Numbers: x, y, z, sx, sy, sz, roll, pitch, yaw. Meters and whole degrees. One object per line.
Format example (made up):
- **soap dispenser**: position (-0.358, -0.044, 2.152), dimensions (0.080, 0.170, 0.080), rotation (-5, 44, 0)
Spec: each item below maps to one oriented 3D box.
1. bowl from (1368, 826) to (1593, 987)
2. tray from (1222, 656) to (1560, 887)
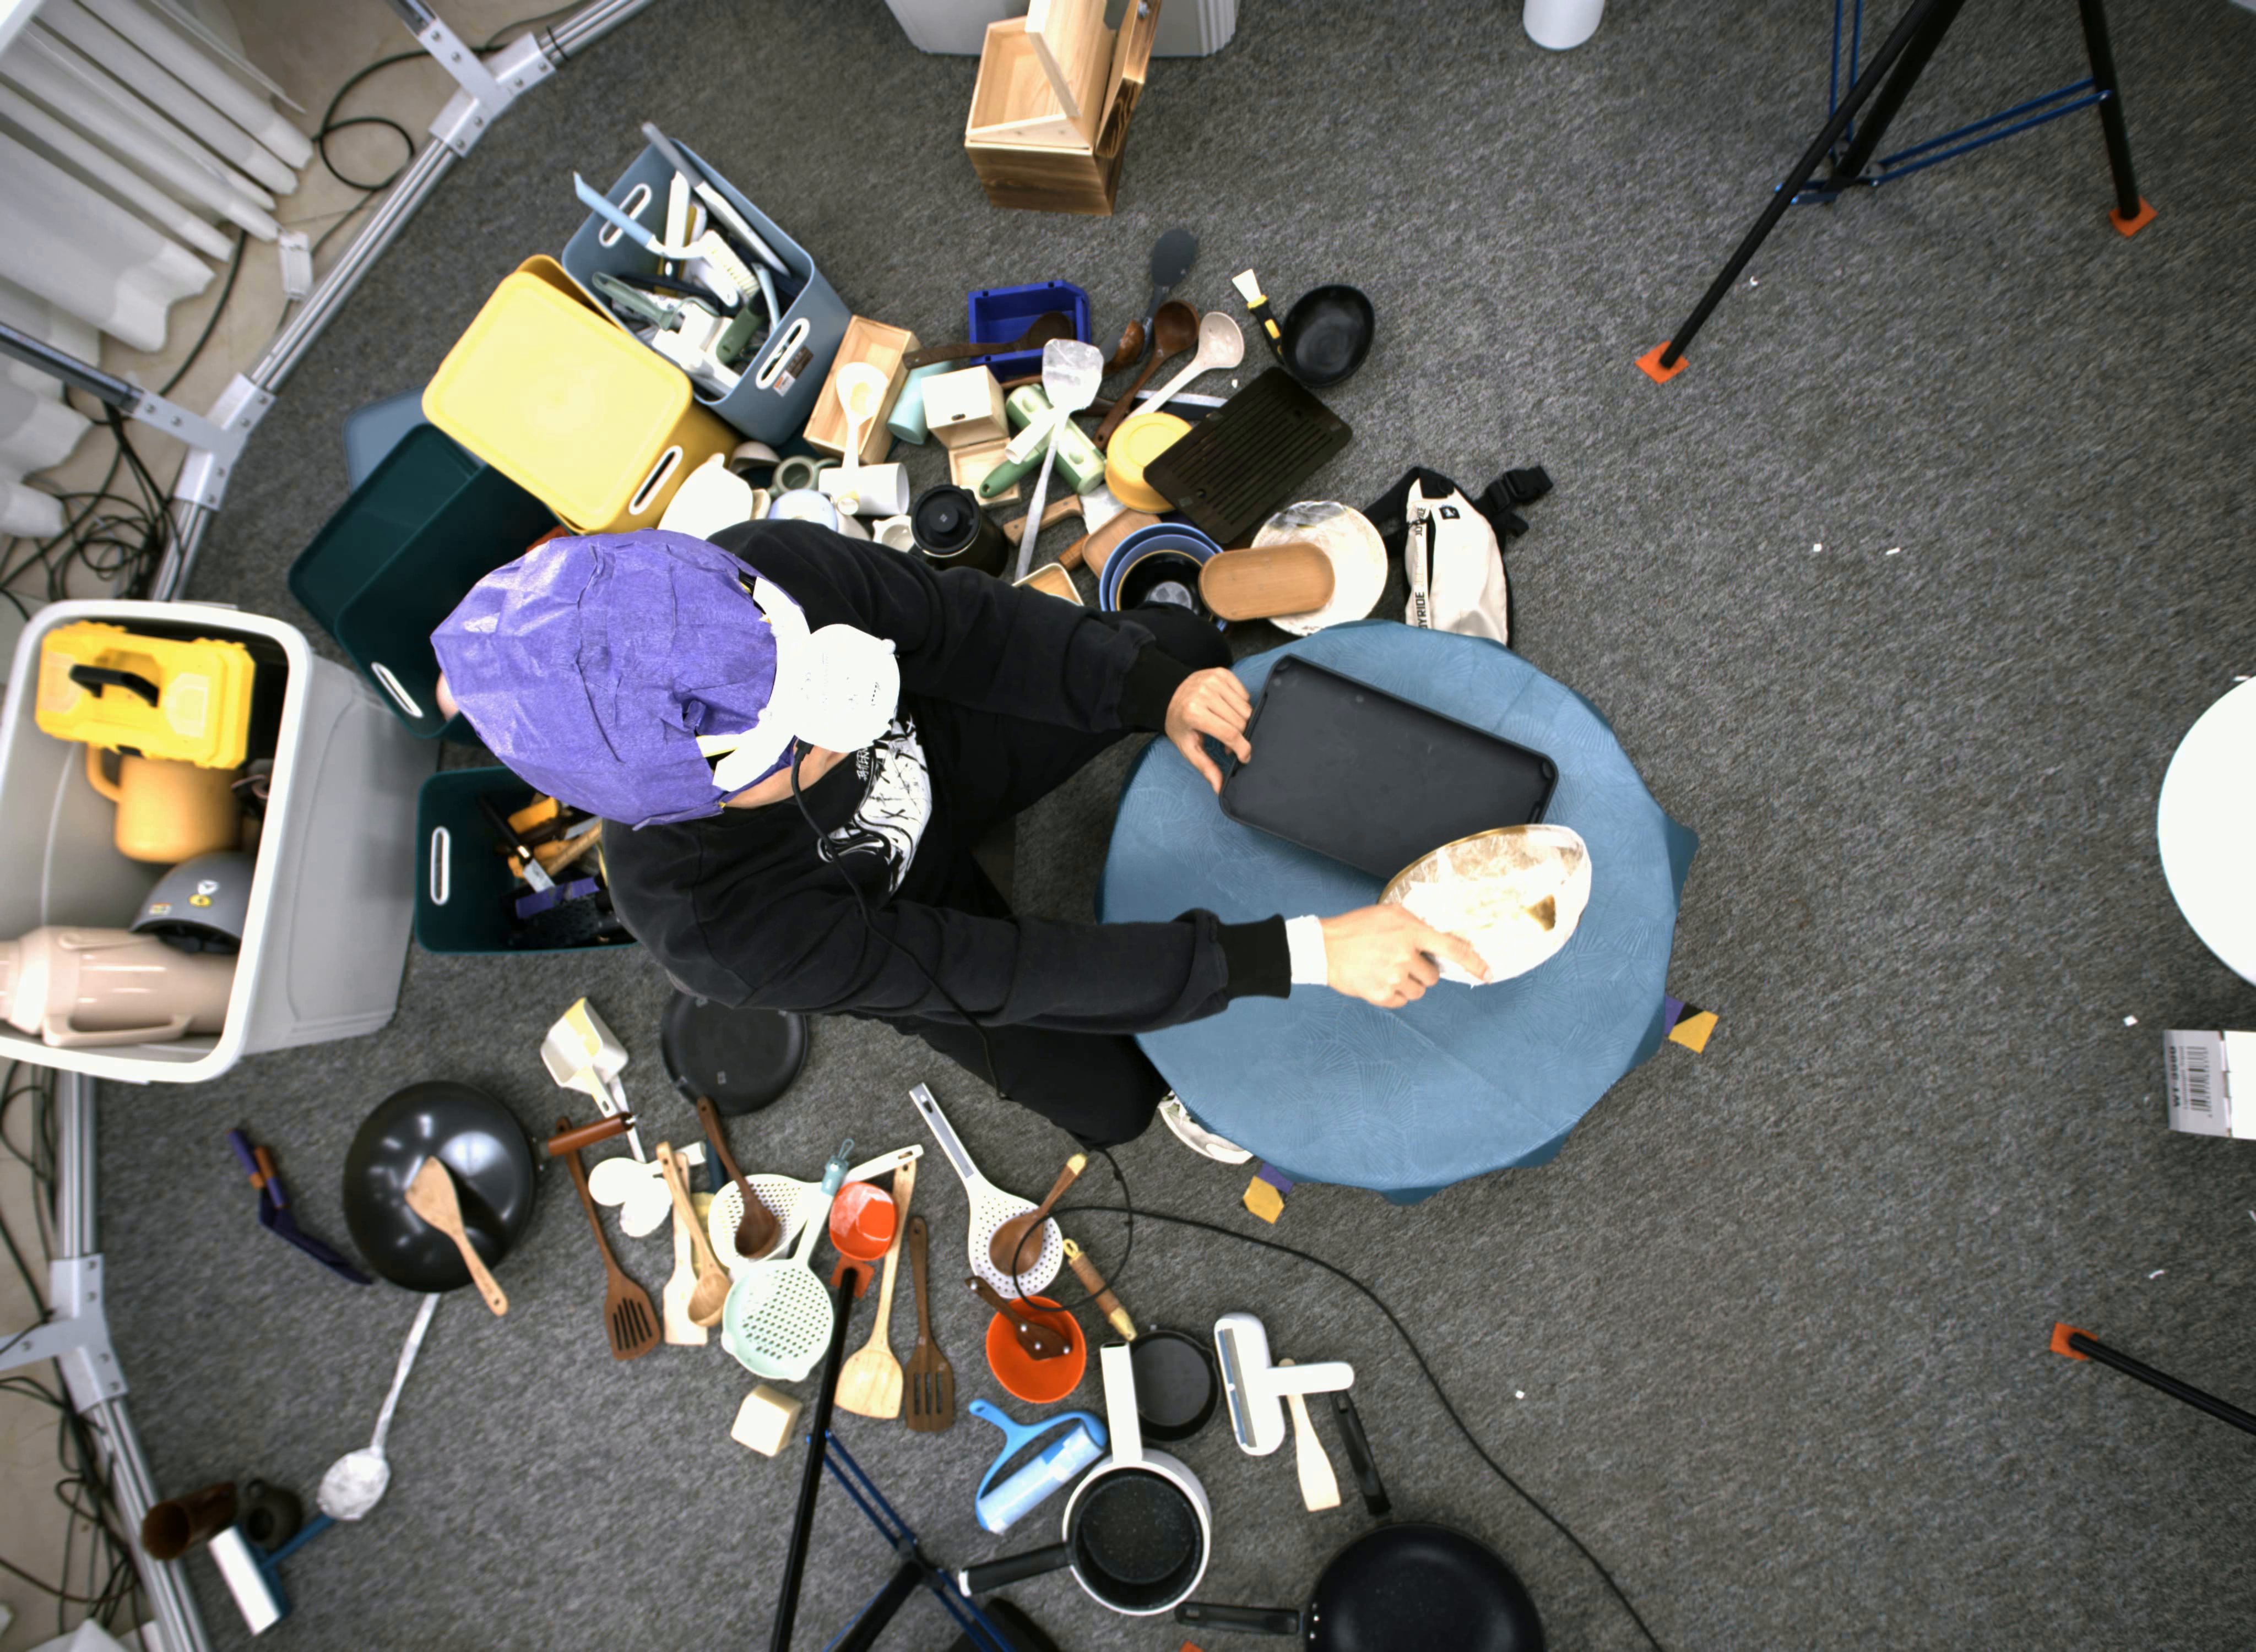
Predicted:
- **bowl**: position (0.342, 0.088, 1.303), dimensions (0.216, 0.211, 0.096), rotation (-22, 109, 7)
- **tray**: position (0.271, -0.038, 1.431), dimensions (0.318, 0.037, 0.184), rotation (23, 90, 2)
